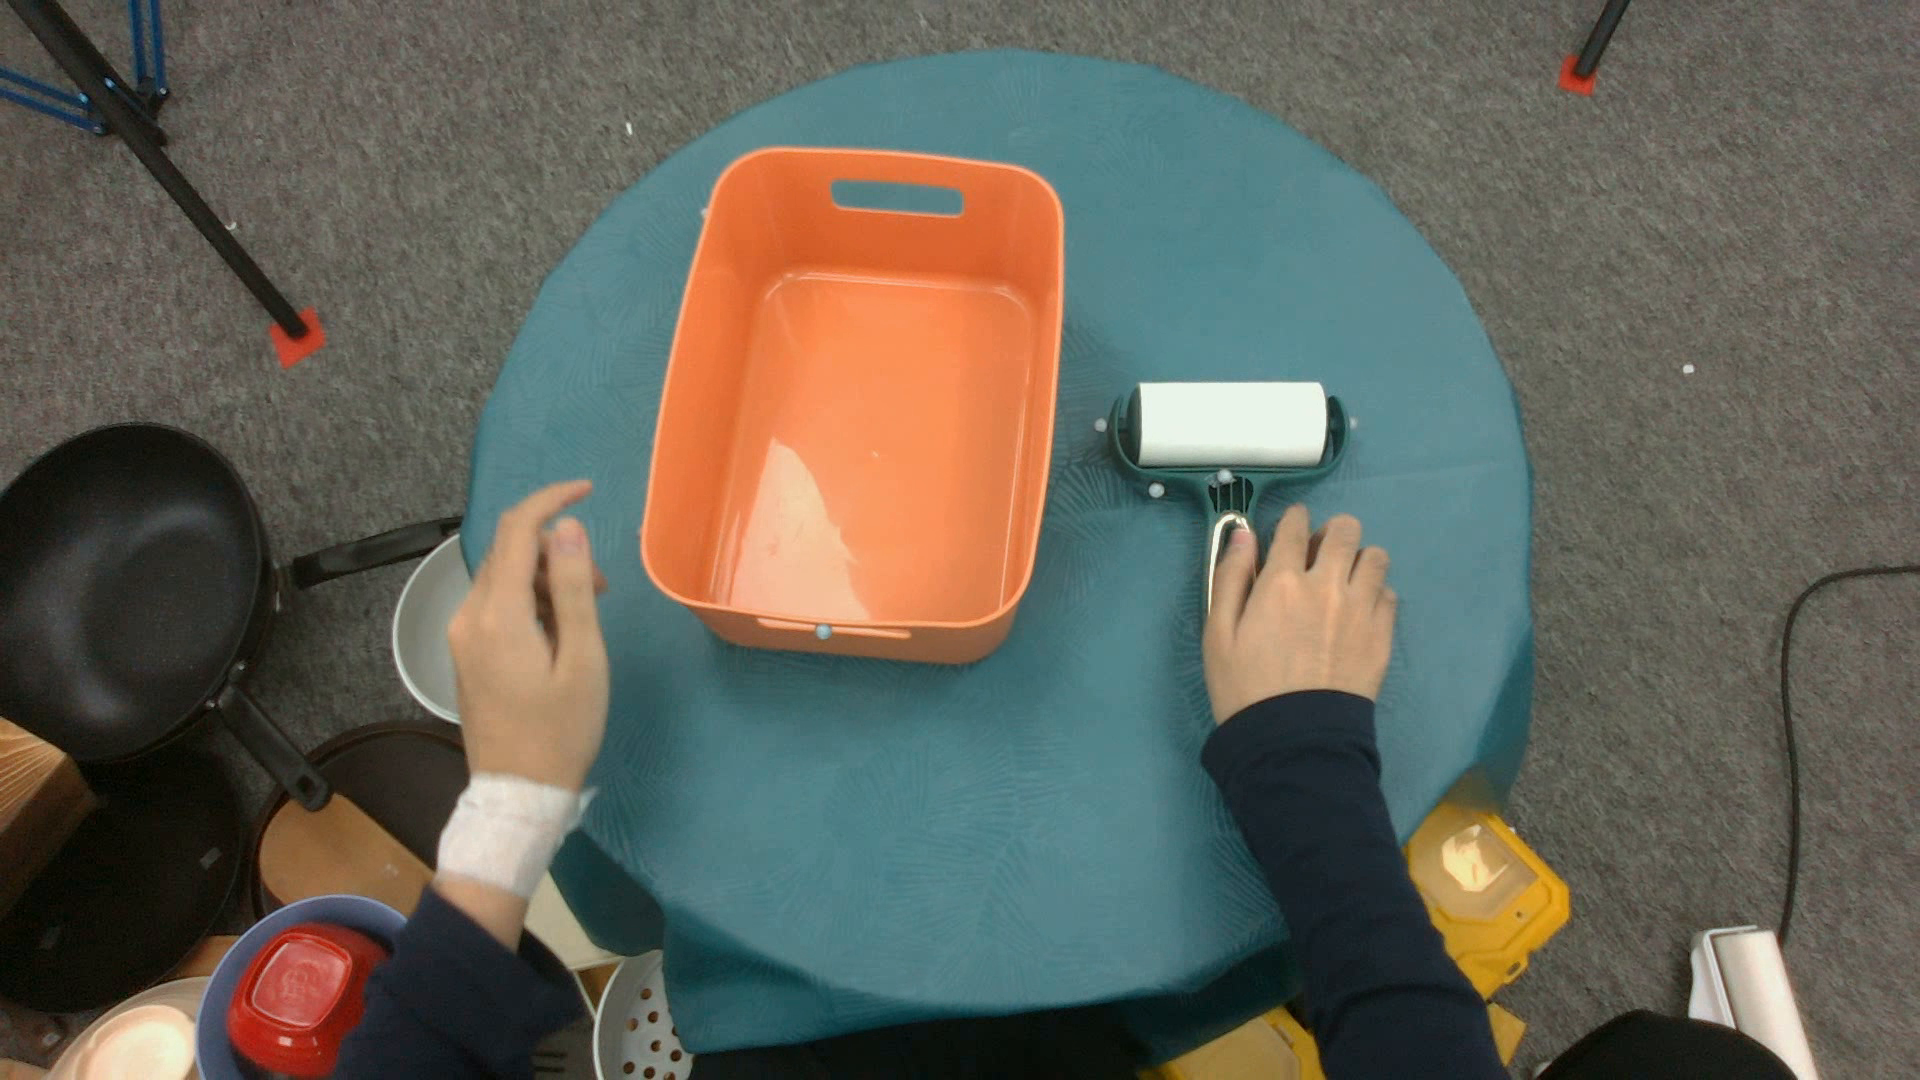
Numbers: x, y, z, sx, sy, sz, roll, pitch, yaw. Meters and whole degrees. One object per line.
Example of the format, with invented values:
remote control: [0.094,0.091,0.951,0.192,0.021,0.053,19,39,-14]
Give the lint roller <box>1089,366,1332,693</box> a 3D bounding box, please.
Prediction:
lint roller: [0.138,-0.010,0.746,0.134,0.048,0.180,0,72,-1]

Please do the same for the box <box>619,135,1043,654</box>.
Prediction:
box: [-0.059,-0.074,0.738,0.199,0.102,0.274,4,67,2]
